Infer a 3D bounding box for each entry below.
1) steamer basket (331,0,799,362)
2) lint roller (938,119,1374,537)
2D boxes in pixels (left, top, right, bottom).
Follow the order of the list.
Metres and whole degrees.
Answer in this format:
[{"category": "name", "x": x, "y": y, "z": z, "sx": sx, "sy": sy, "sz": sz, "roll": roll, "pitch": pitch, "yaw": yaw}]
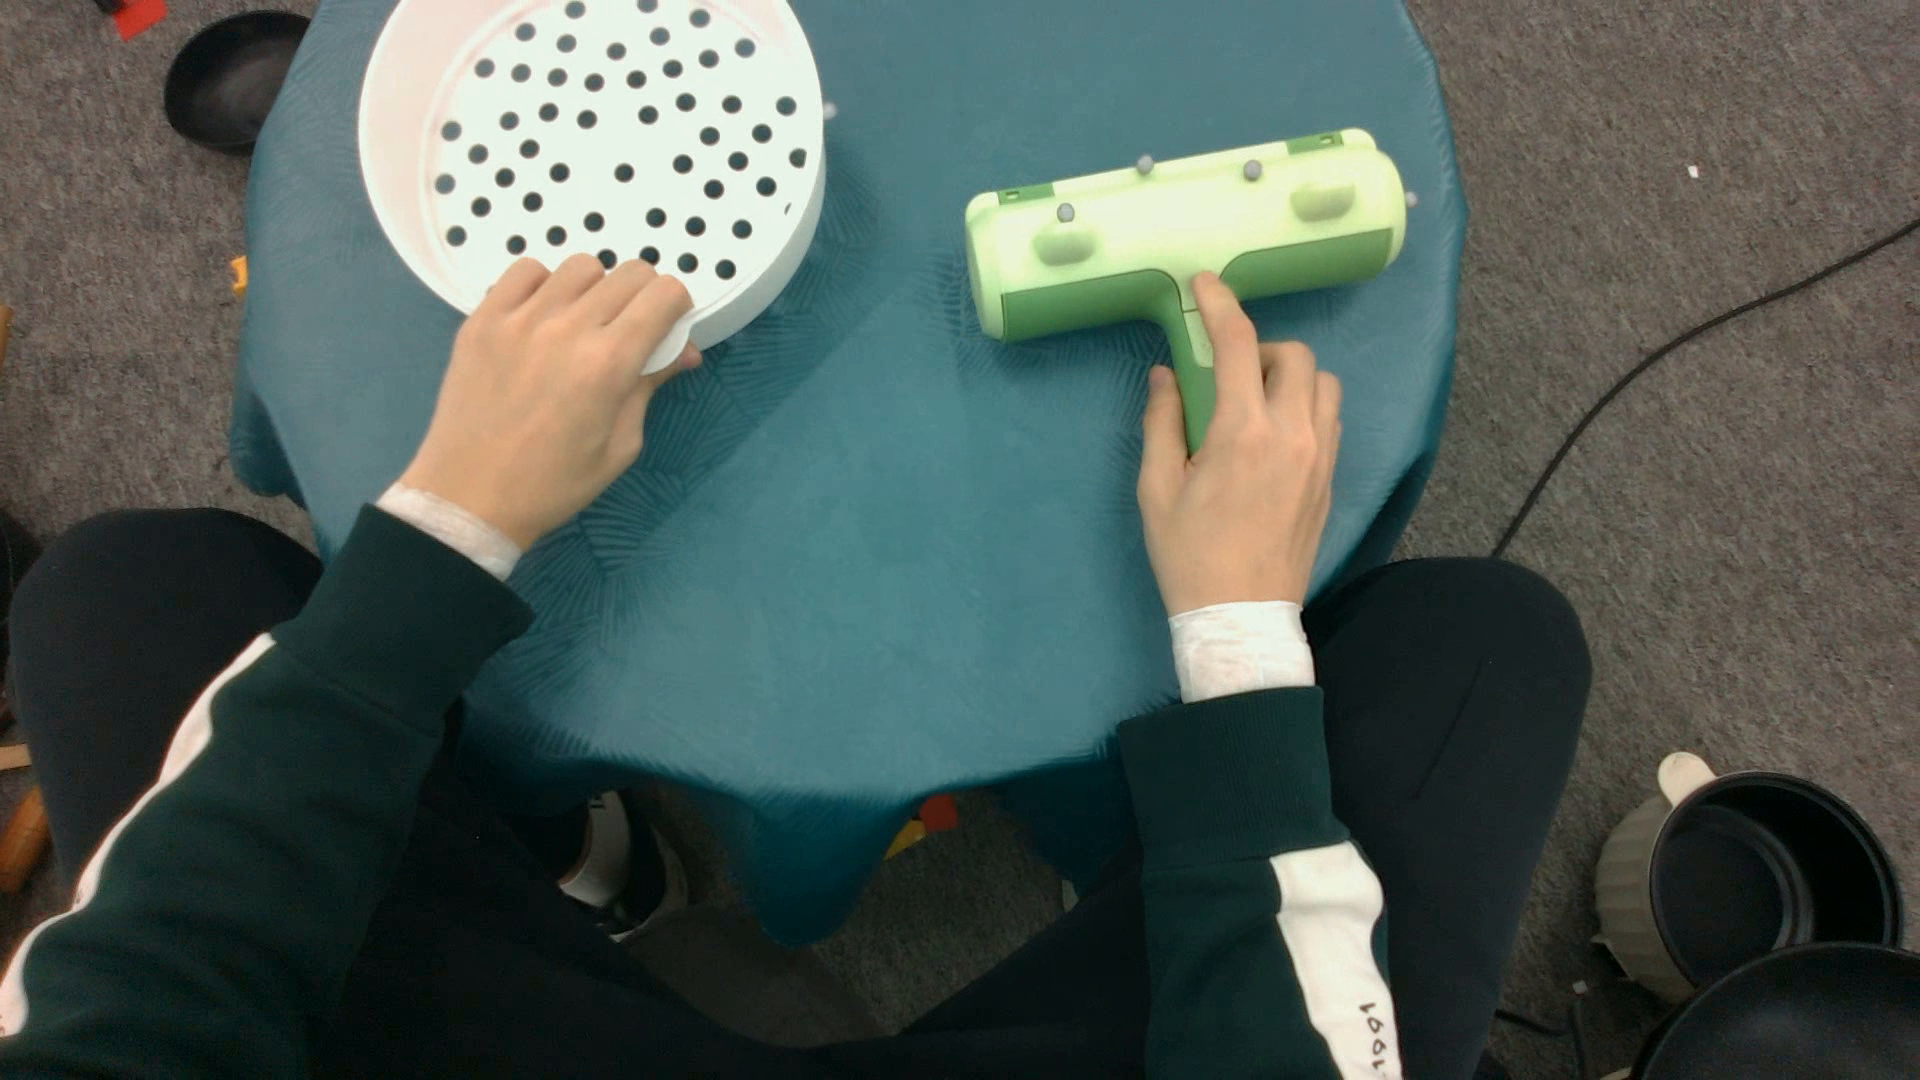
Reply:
[{"category": "steamer basket", "x": -0.174, "y": -0.186, "z": 0.631, "sx": 0.202, "sy": 0.069, "sz": 0.231, "roll": -7, "pitch": 81, "yaw": -3}, {"category": "lint roller", "x": 0.101, "y": -0.097, "z": 0.614, "sx": 0.199, "sy": 0.082, "sz": 0.184, "roll": -11, "pitch": 70, "yaw": -4}]
